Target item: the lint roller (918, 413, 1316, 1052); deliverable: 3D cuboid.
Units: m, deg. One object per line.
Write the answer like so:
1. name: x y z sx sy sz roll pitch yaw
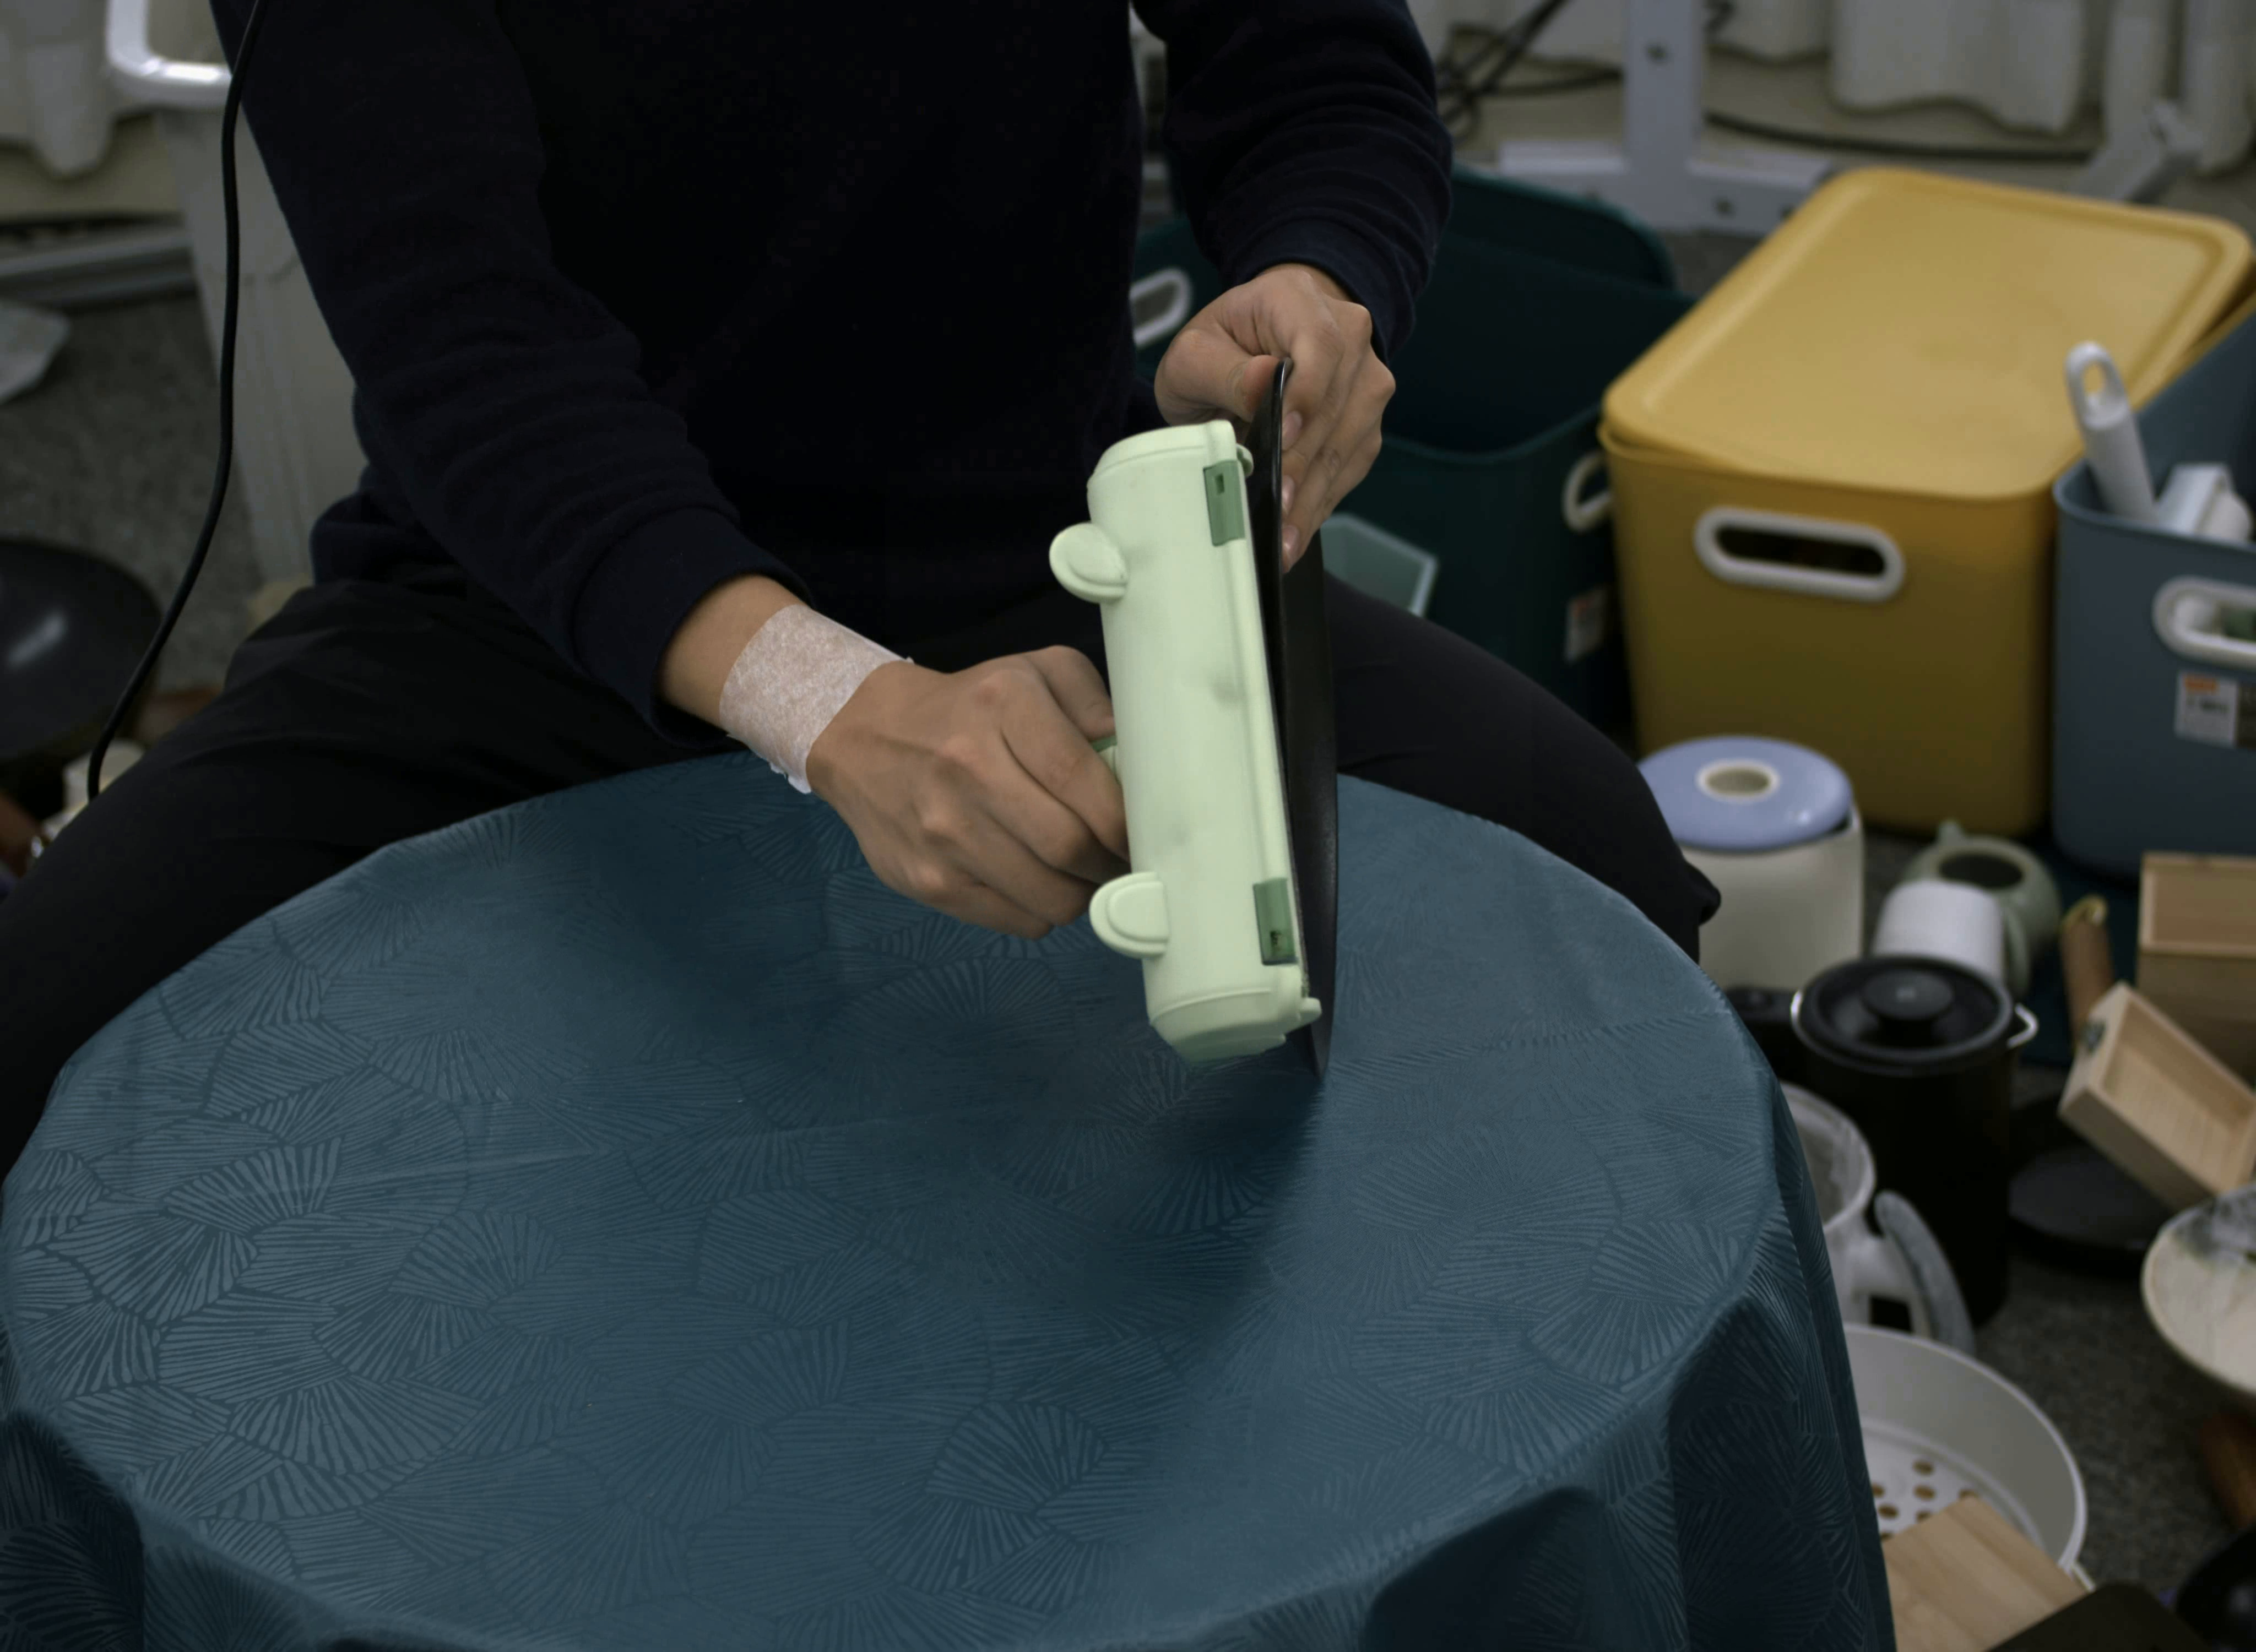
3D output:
1. lint roller: -0.023 -0.015 1.802 0.180 0.201 0.082 -21 -22 39

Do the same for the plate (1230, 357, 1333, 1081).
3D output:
1. plate: 0.051 -0.036 1.899 0.023 0.242 0.248 -3 27 6
